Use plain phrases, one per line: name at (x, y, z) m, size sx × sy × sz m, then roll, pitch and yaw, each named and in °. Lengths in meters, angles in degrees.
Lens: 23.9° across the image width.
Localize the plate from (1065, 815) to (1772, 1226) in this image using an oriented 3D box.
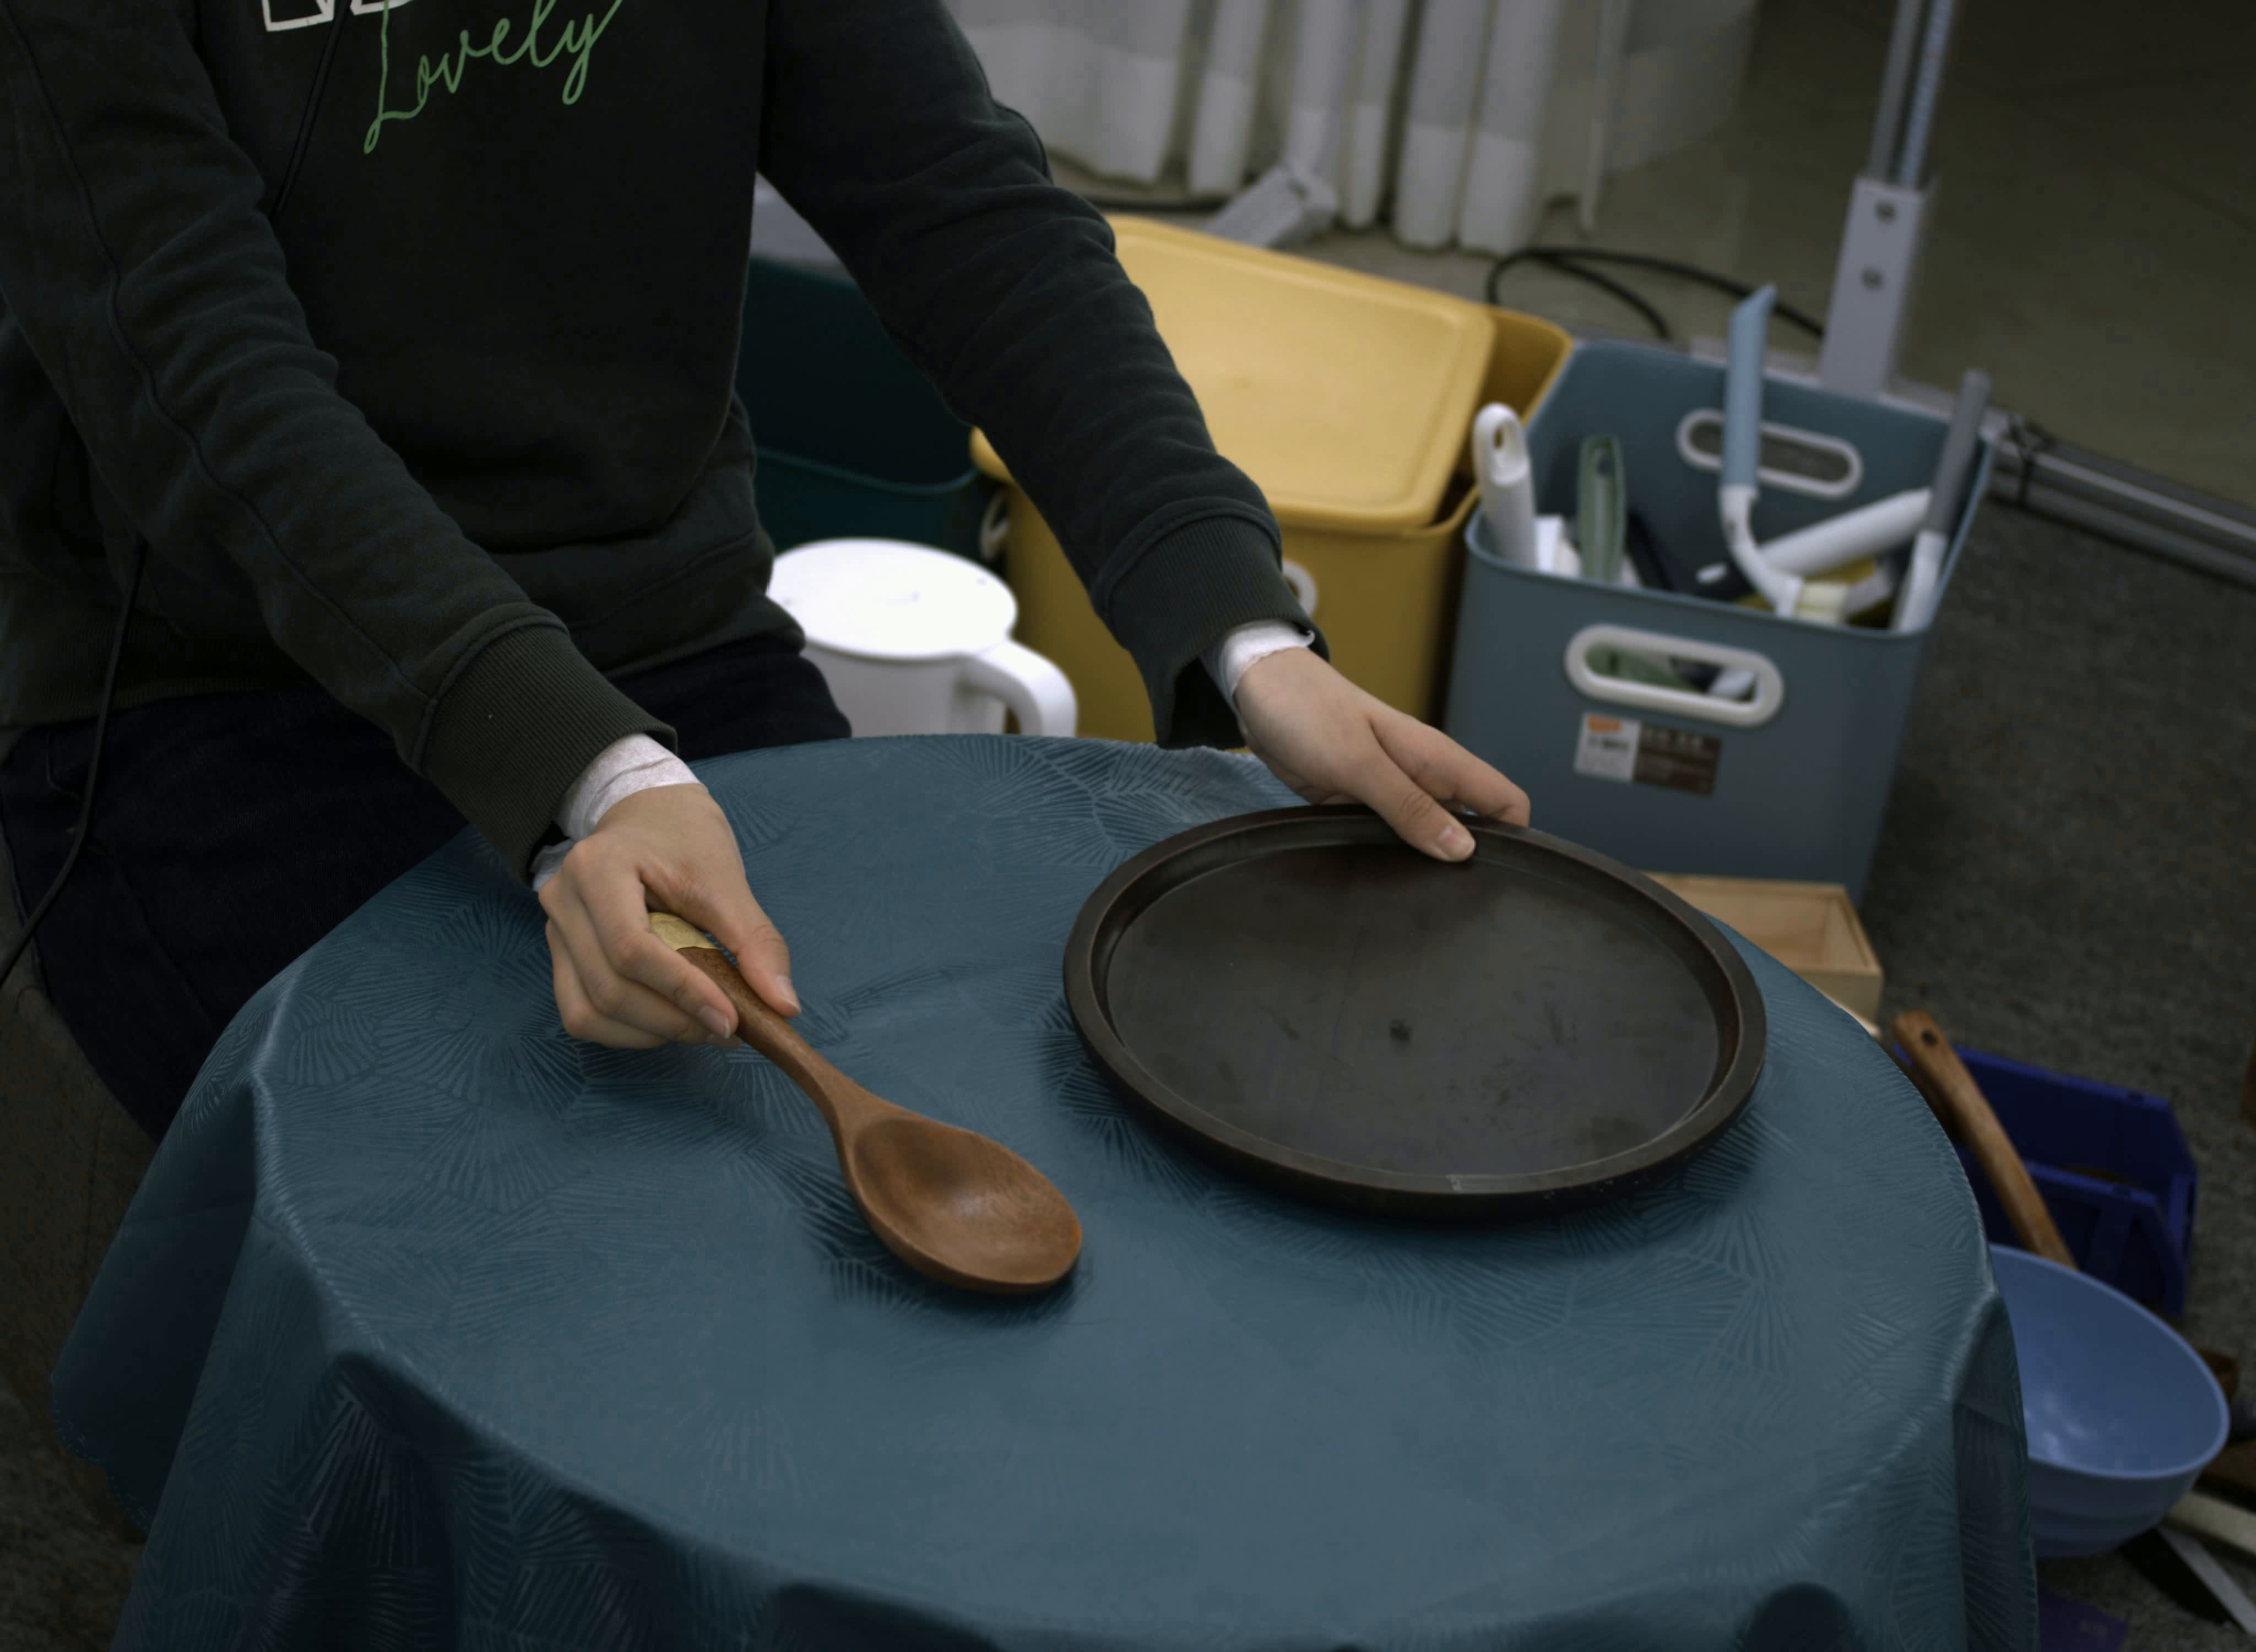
plate at (0.102, 0.067, 1.893) m, size 0.254 × 0.029 × 0.256 m, roll 5°, pitch 31°, yaw -3°

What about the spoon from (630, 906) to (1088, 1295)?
spoon at (-0.096, 0.093, 1.786) m, size 0.075 × 0.017 × 0.217 m, roll -15°, pitch 45°, yaw -42°
